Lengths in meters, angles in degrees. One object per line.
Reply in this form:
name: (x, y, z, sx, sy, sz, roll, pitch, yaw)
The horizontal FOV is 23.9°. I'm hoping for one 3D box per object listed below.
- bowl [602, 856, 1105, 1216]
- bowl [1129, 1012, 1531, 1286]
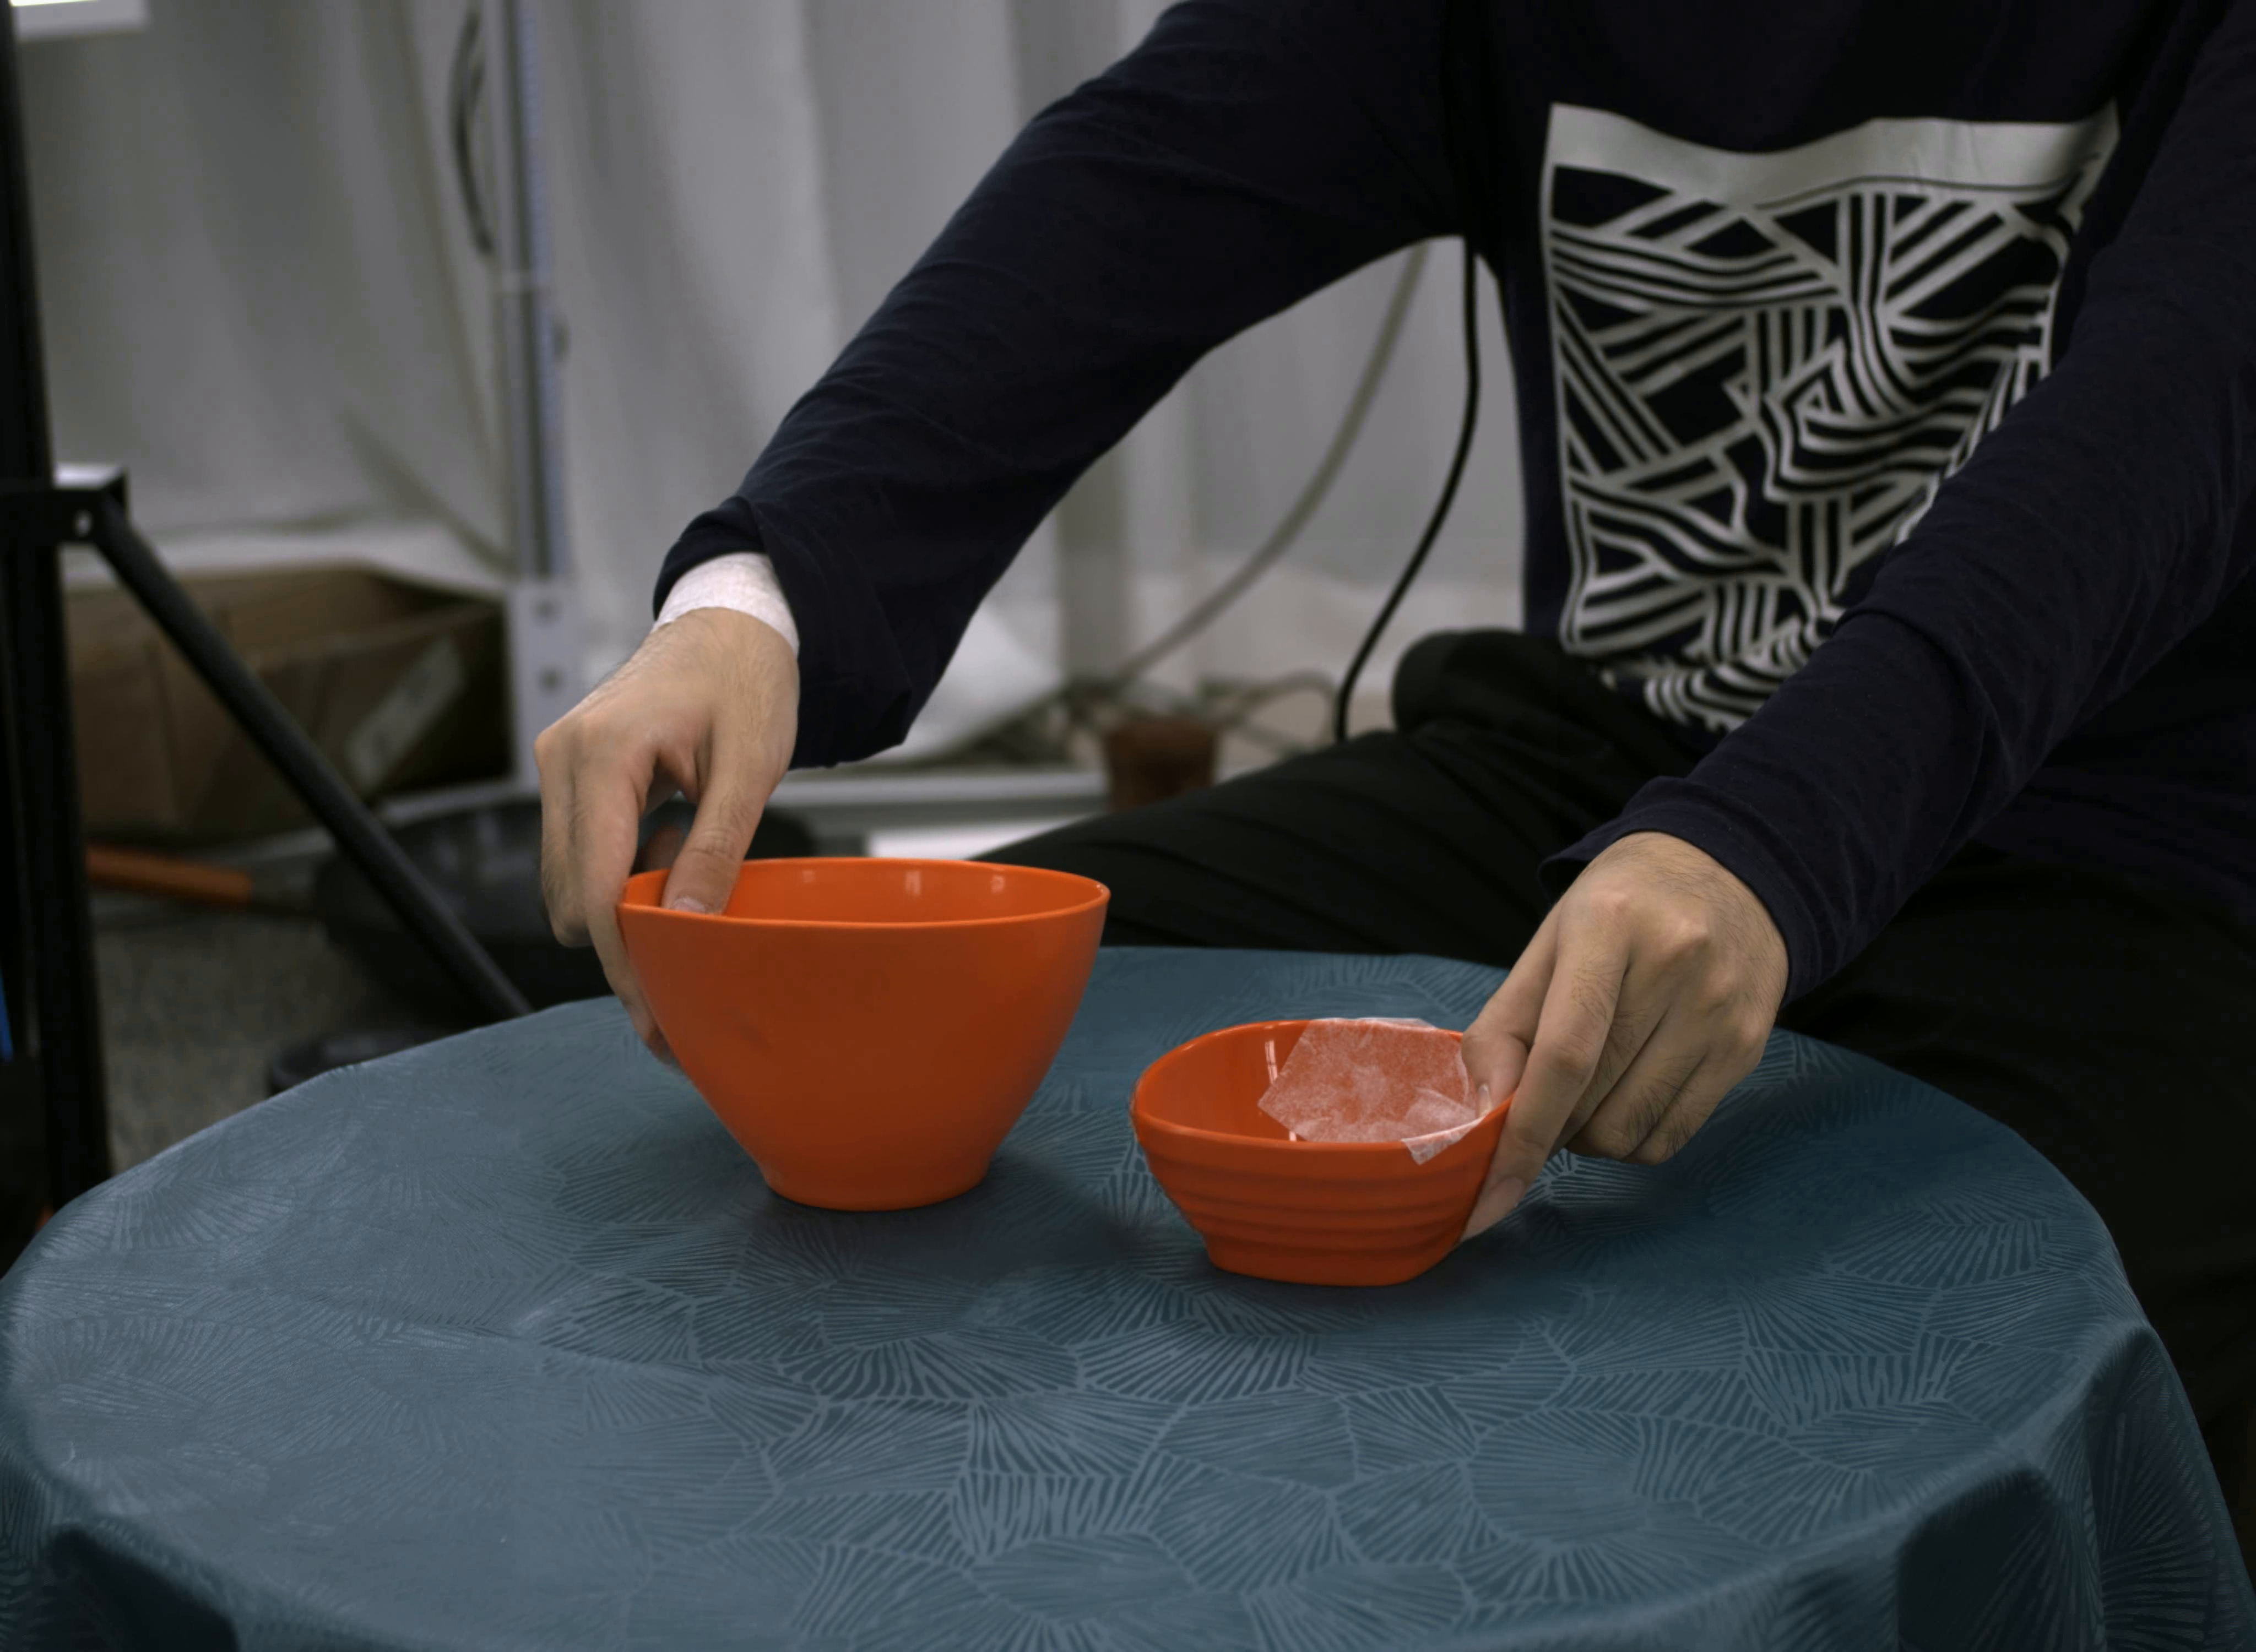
bowl: (-0.079, 0.059, 1.563, 0.147, 0.104, 0.149, -2, 15, -1)
bowl: (0.059, 0.094, 1.504, 0.118, 0.051, 0.119, -4, 17, 0)
